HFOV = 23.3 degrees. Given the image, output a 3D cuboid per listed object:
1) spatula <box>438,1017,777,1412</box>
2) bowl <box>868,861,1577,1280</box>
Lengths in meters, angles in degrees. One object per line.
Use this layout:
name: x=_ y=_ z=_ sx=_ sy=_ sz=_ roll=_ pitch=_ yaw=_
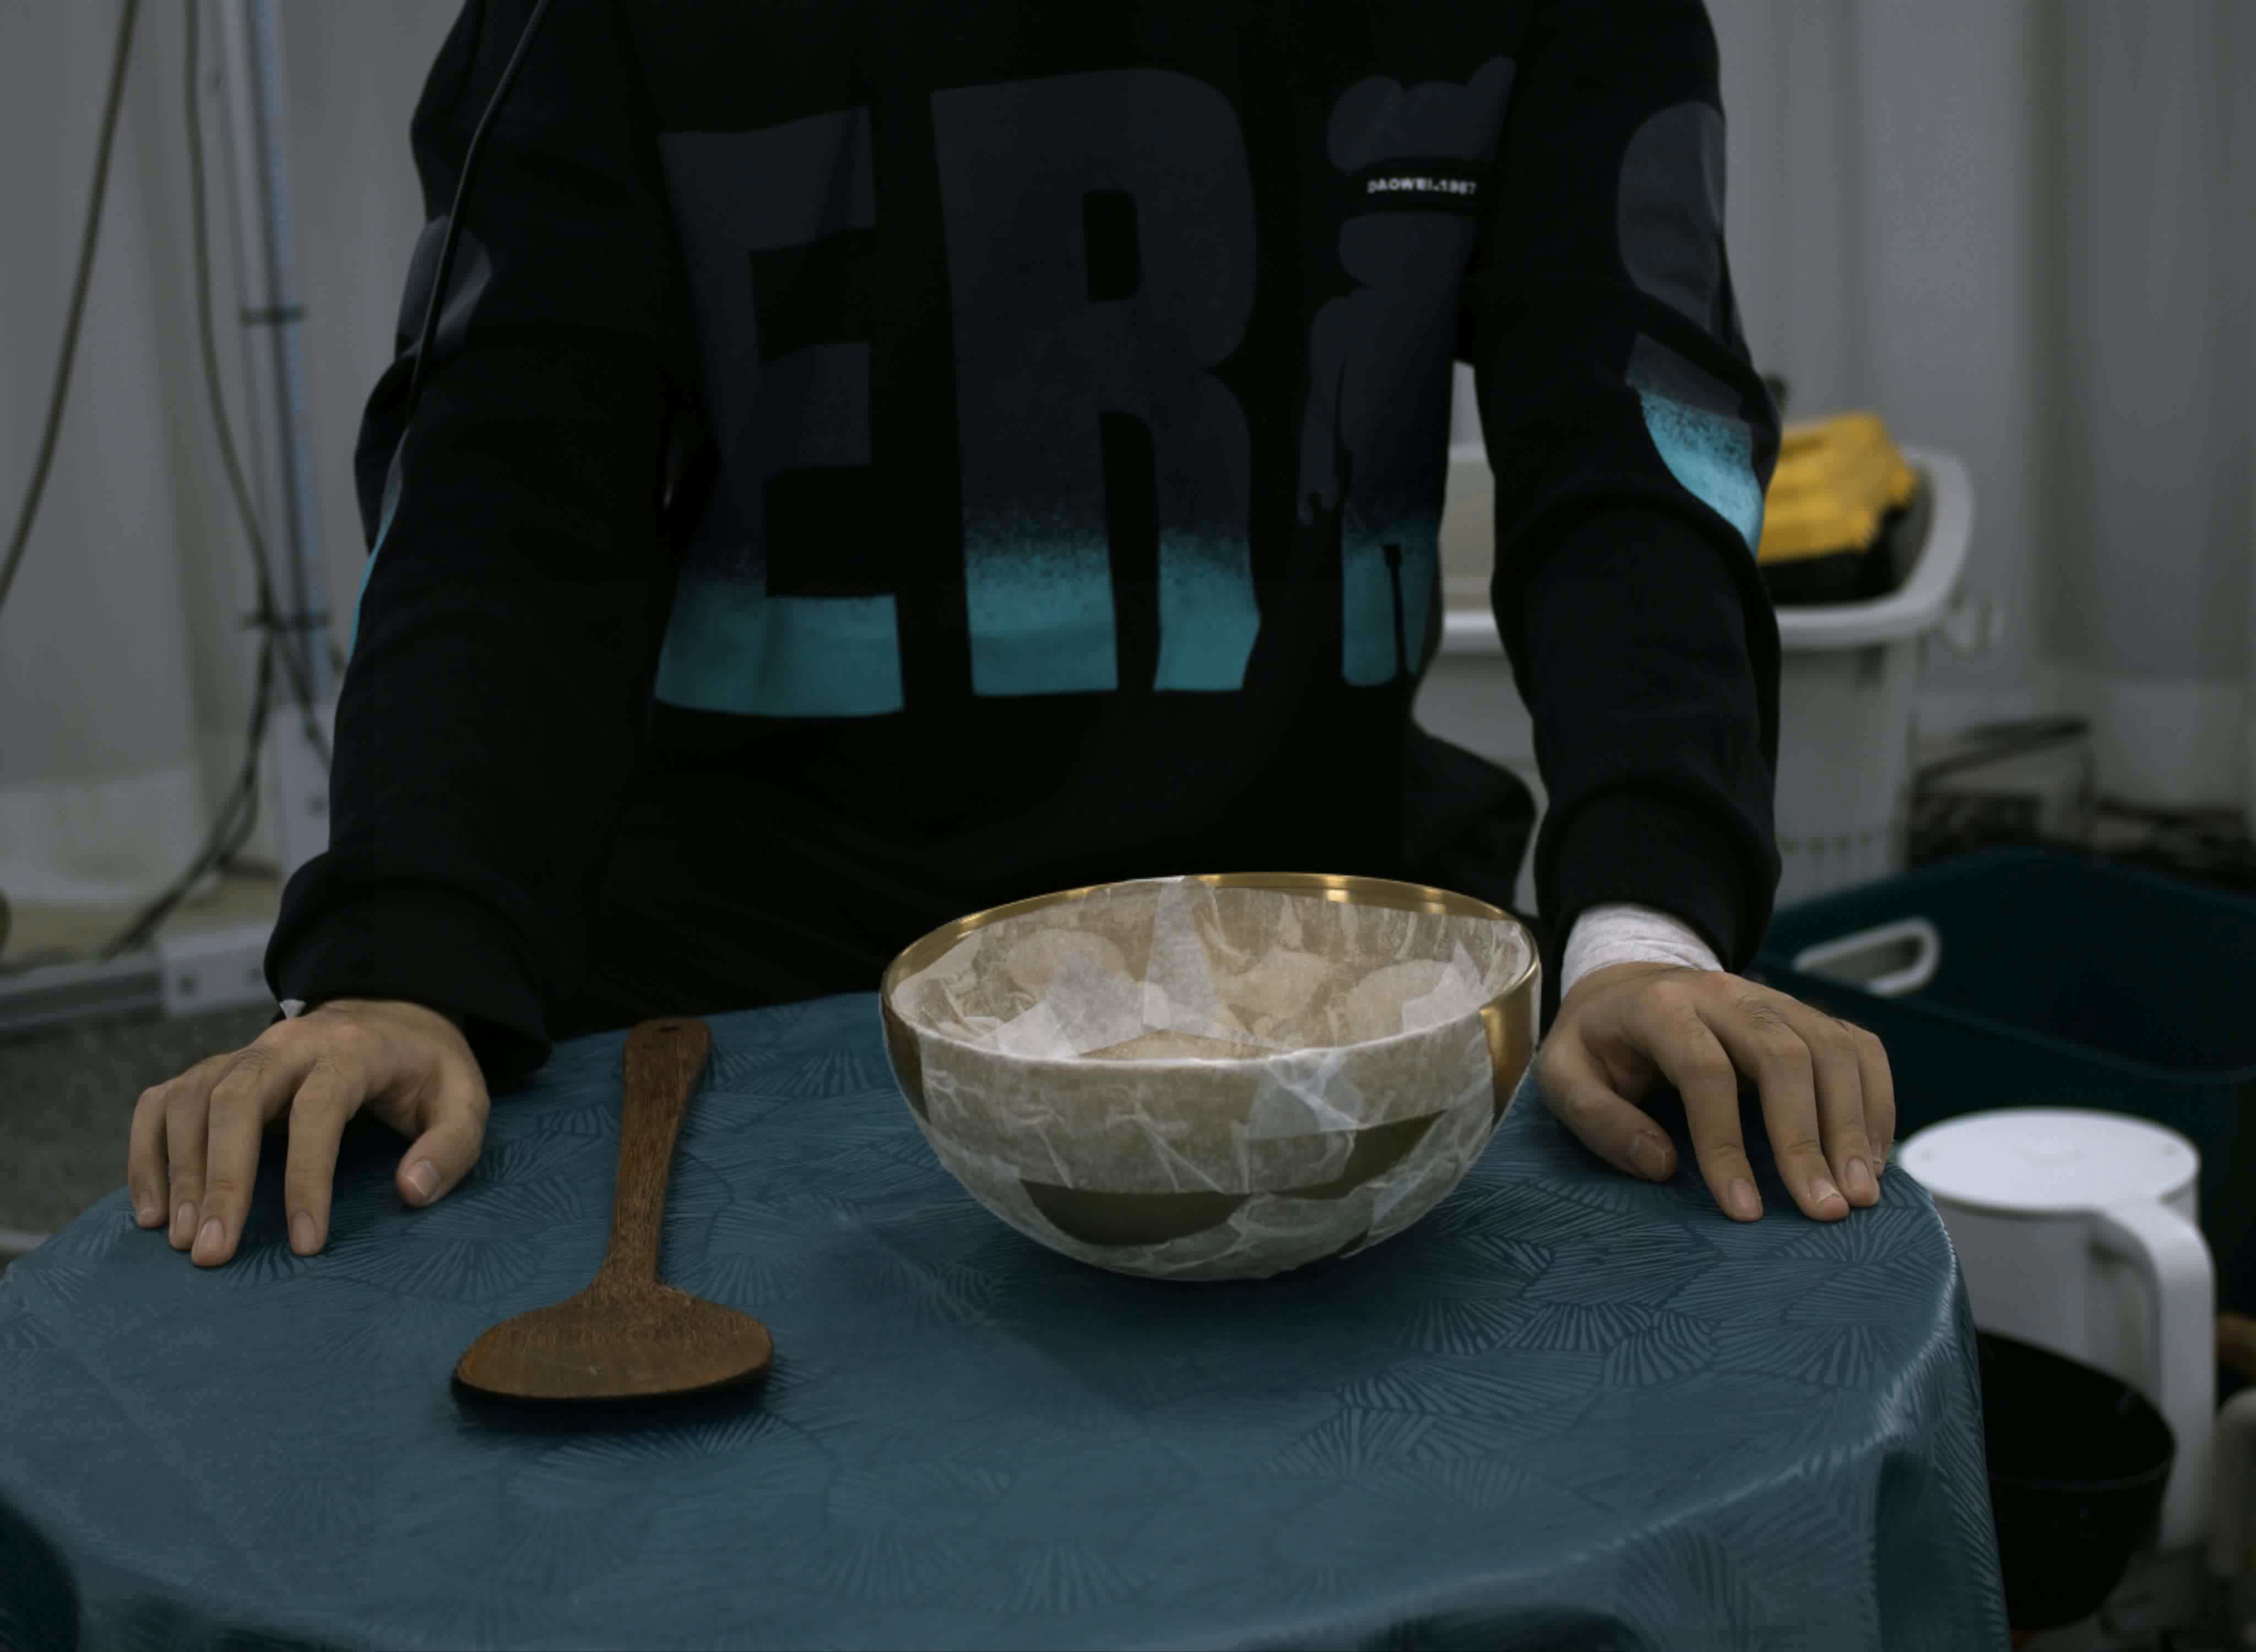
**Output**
spatula: x=-0.153 y=0.116 z=1.714 sx=0.096 sy=0.016 sz=0.388 roll=-2 pitch=15 yaw=-1
bowl: x=0.030 y=0.082 z=1.651 sx=0.214 sy=0.094 sz=0.216 roll=-4 pitch=14 yaw=1
